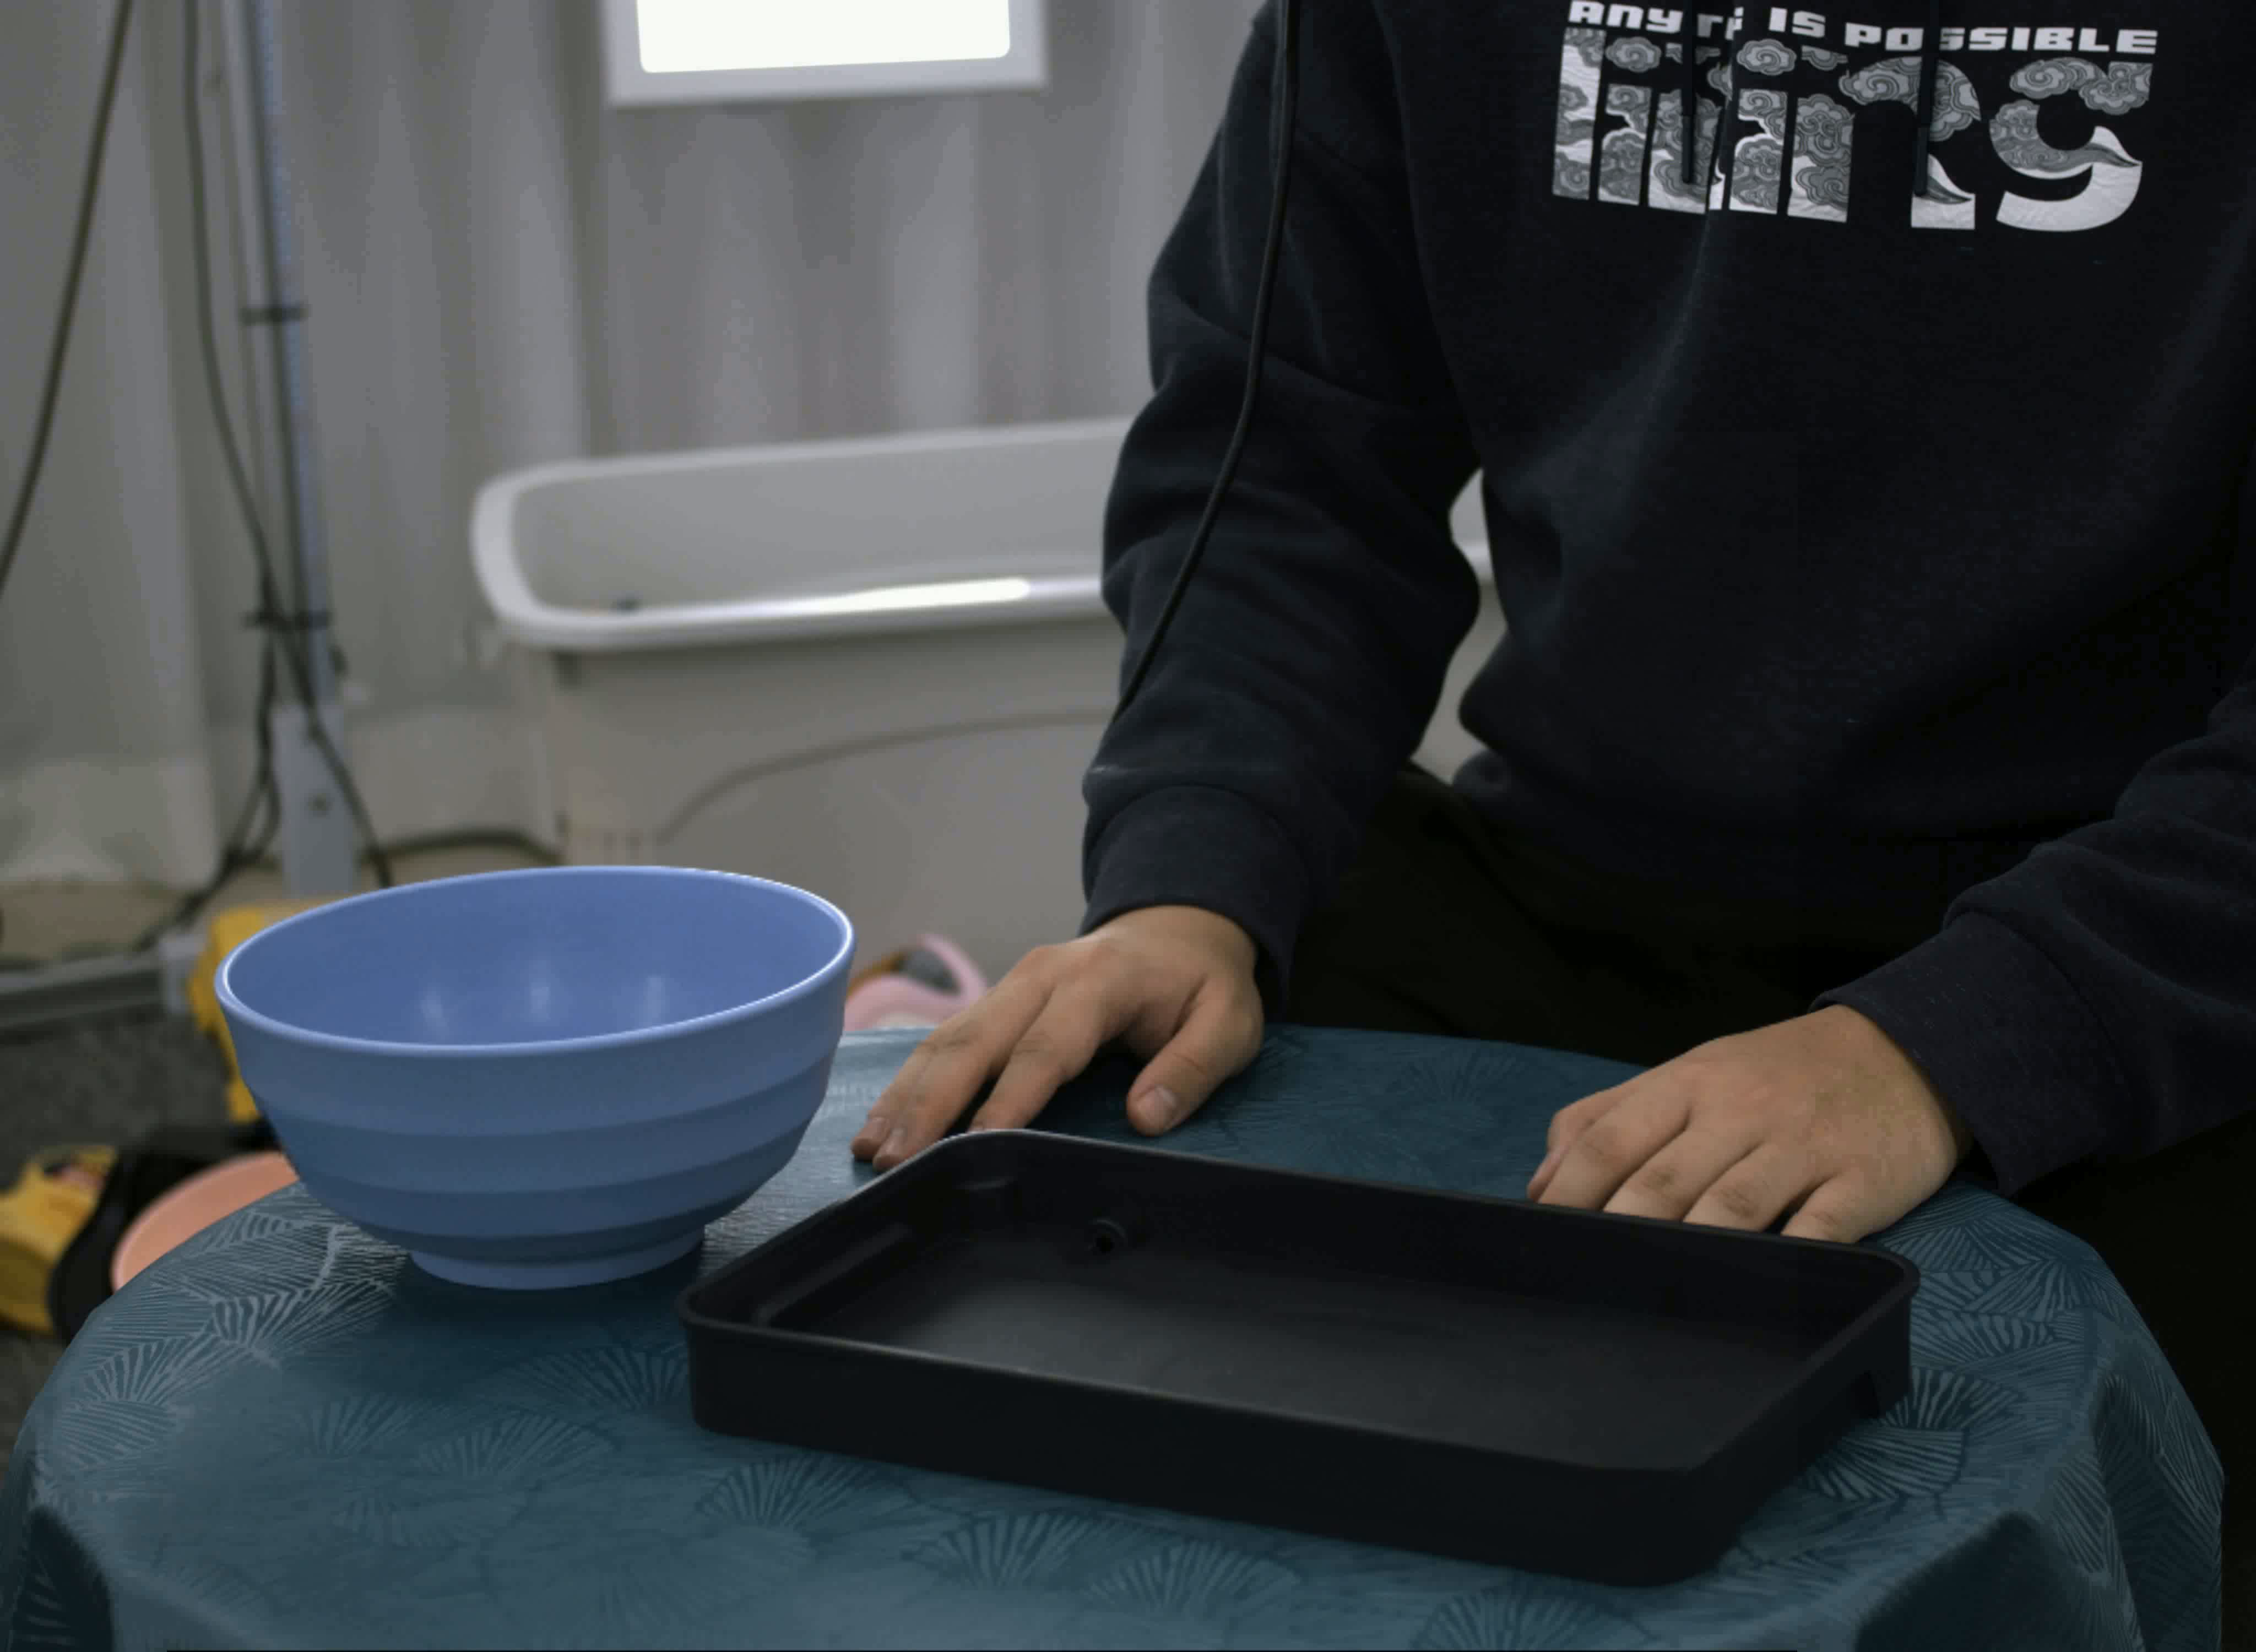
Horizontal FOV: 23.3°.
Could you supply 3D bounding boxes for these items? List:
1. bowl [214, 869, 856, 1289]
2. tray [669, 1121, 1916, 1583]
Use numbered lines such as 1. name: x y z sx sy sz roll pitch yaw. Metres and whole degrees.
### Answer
1. bowl: -0.178 0.083 1.683 0.196 0.095 0.198 -4 14 1
2. tray: 0.045 0.143 1.532 0.319 0.037 0.184 6 17 29
